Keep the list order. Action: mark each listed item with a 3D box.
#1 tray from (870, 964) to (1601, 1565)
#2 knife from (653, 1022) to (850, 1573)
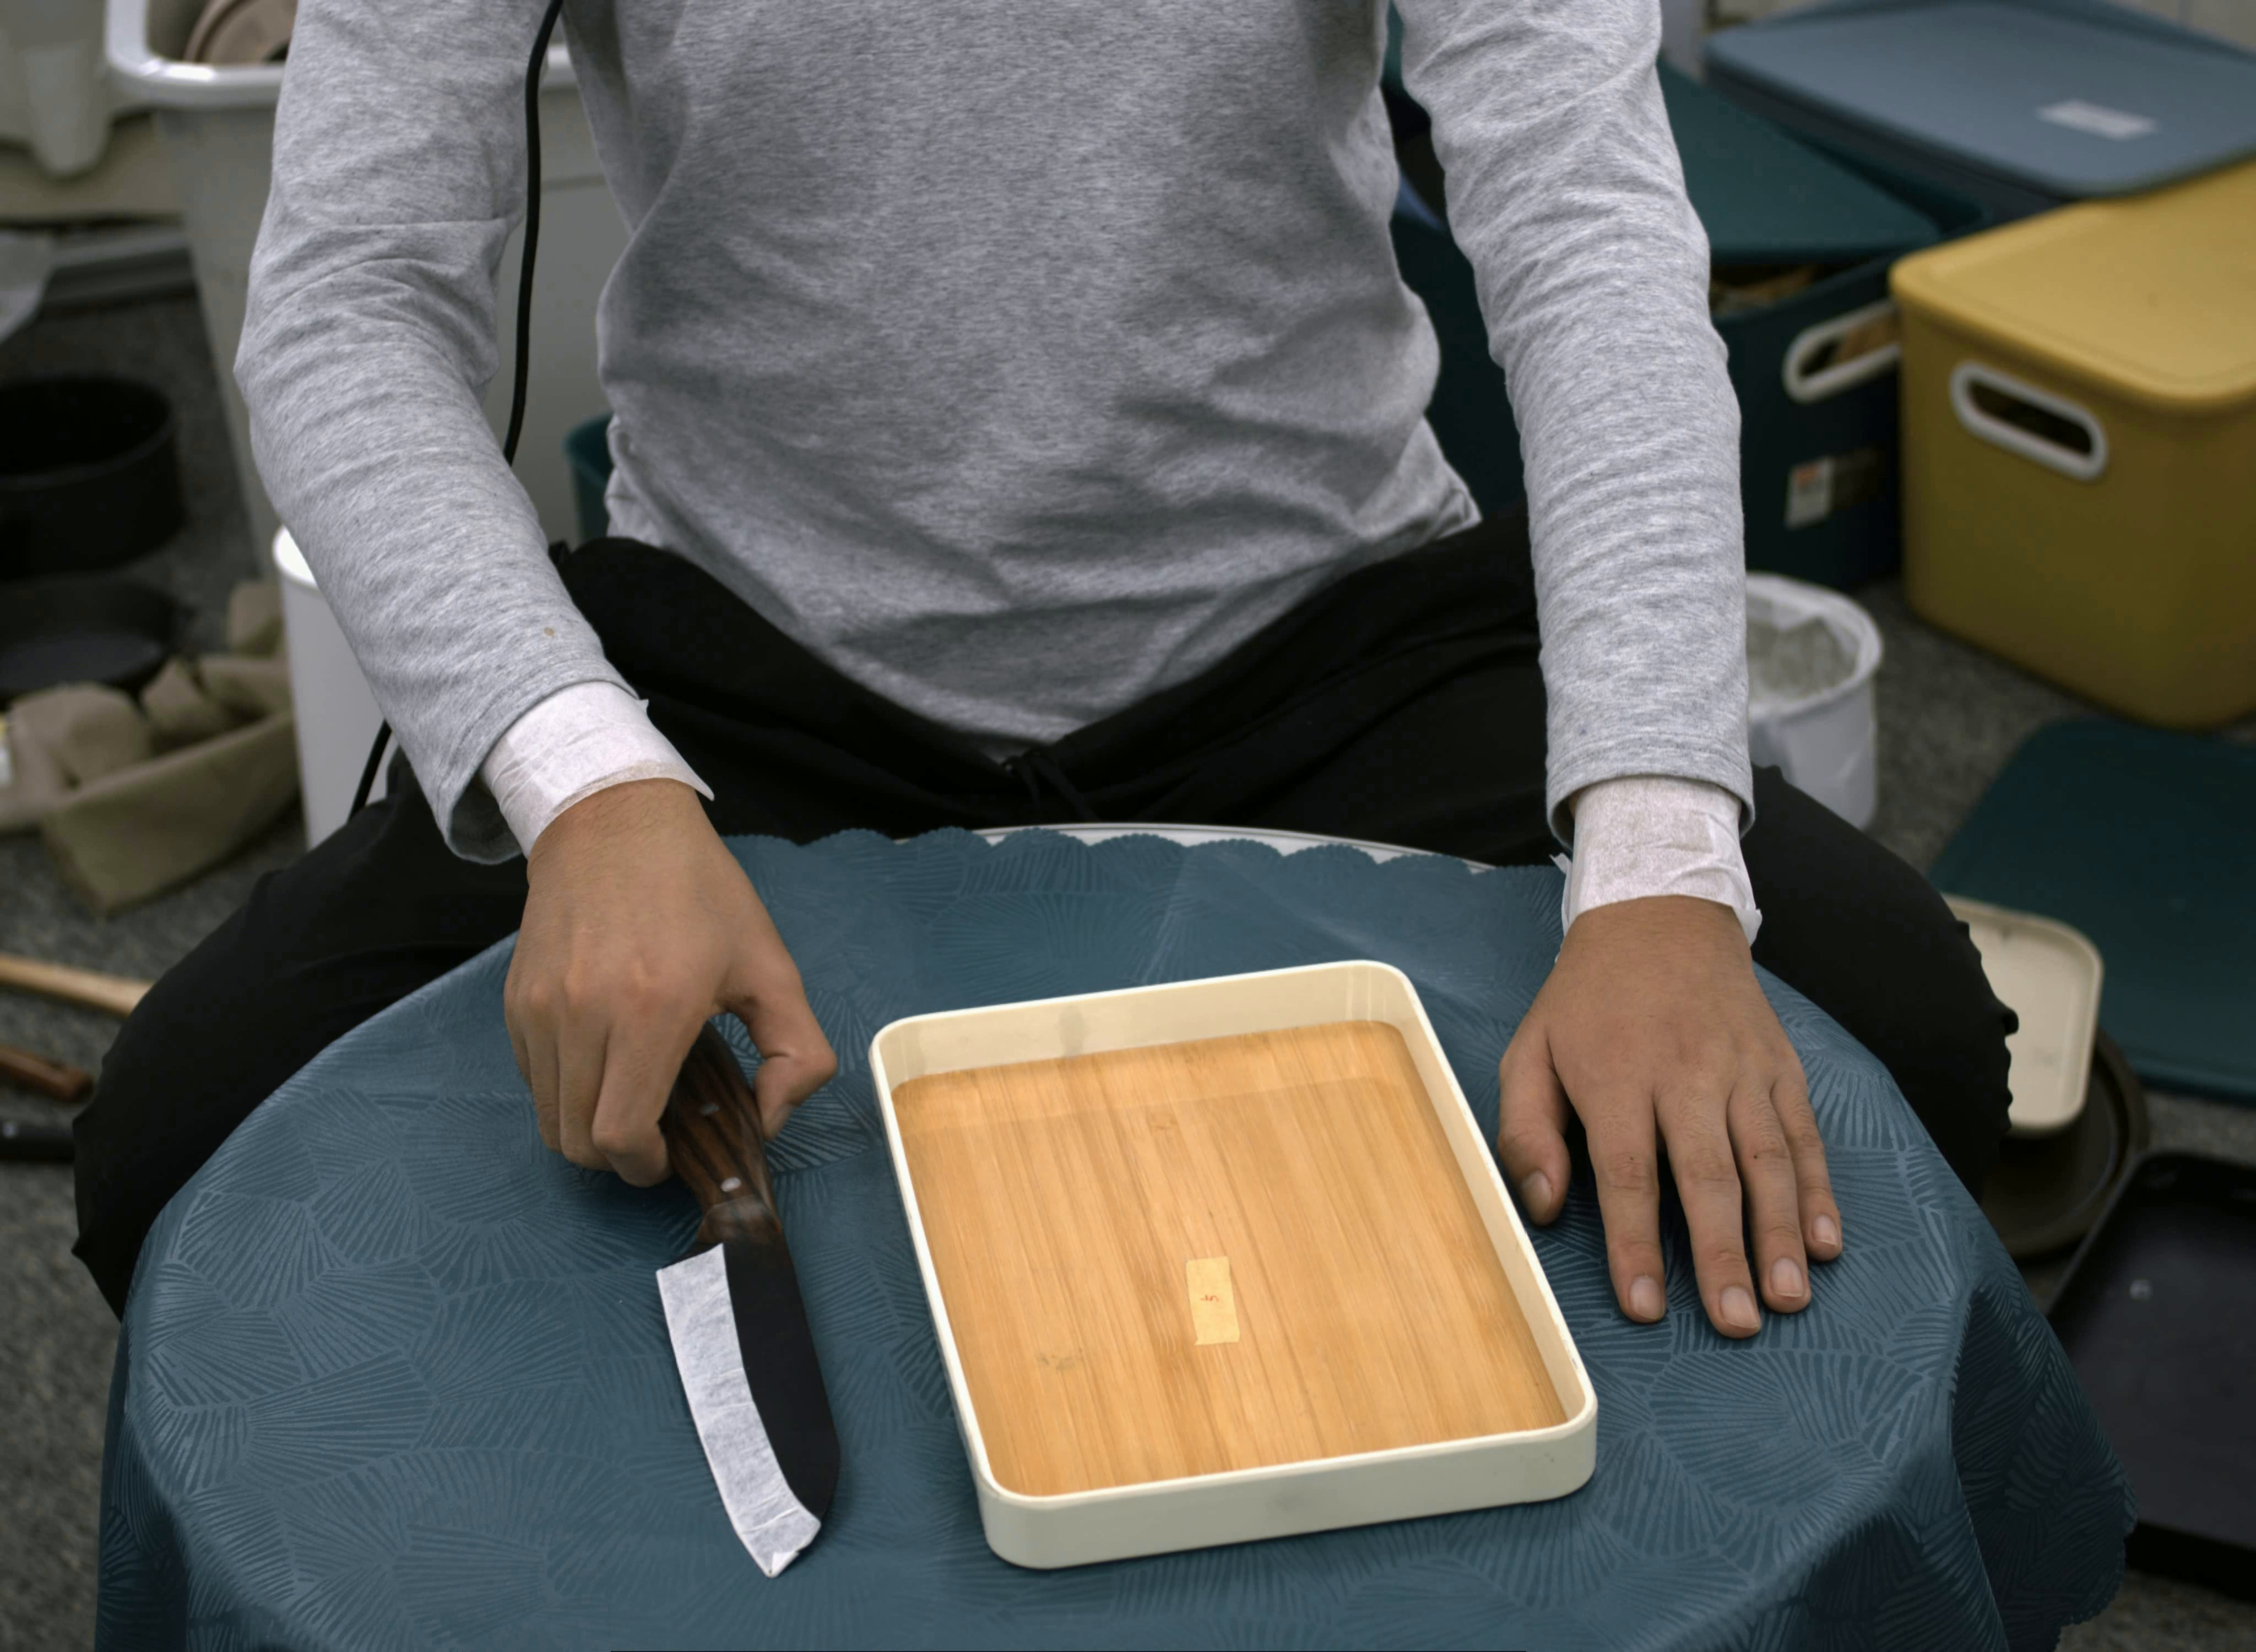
[{"bbox_3d":[0.028,0.135,1.805,0.191,0.027,0.304,-6,27,-7],"label":"tray"},{"bbox_3d":[-0.125,0.148,1.795,0.050,0.020,0.293,-19,32,0],"label":"knife"}]
